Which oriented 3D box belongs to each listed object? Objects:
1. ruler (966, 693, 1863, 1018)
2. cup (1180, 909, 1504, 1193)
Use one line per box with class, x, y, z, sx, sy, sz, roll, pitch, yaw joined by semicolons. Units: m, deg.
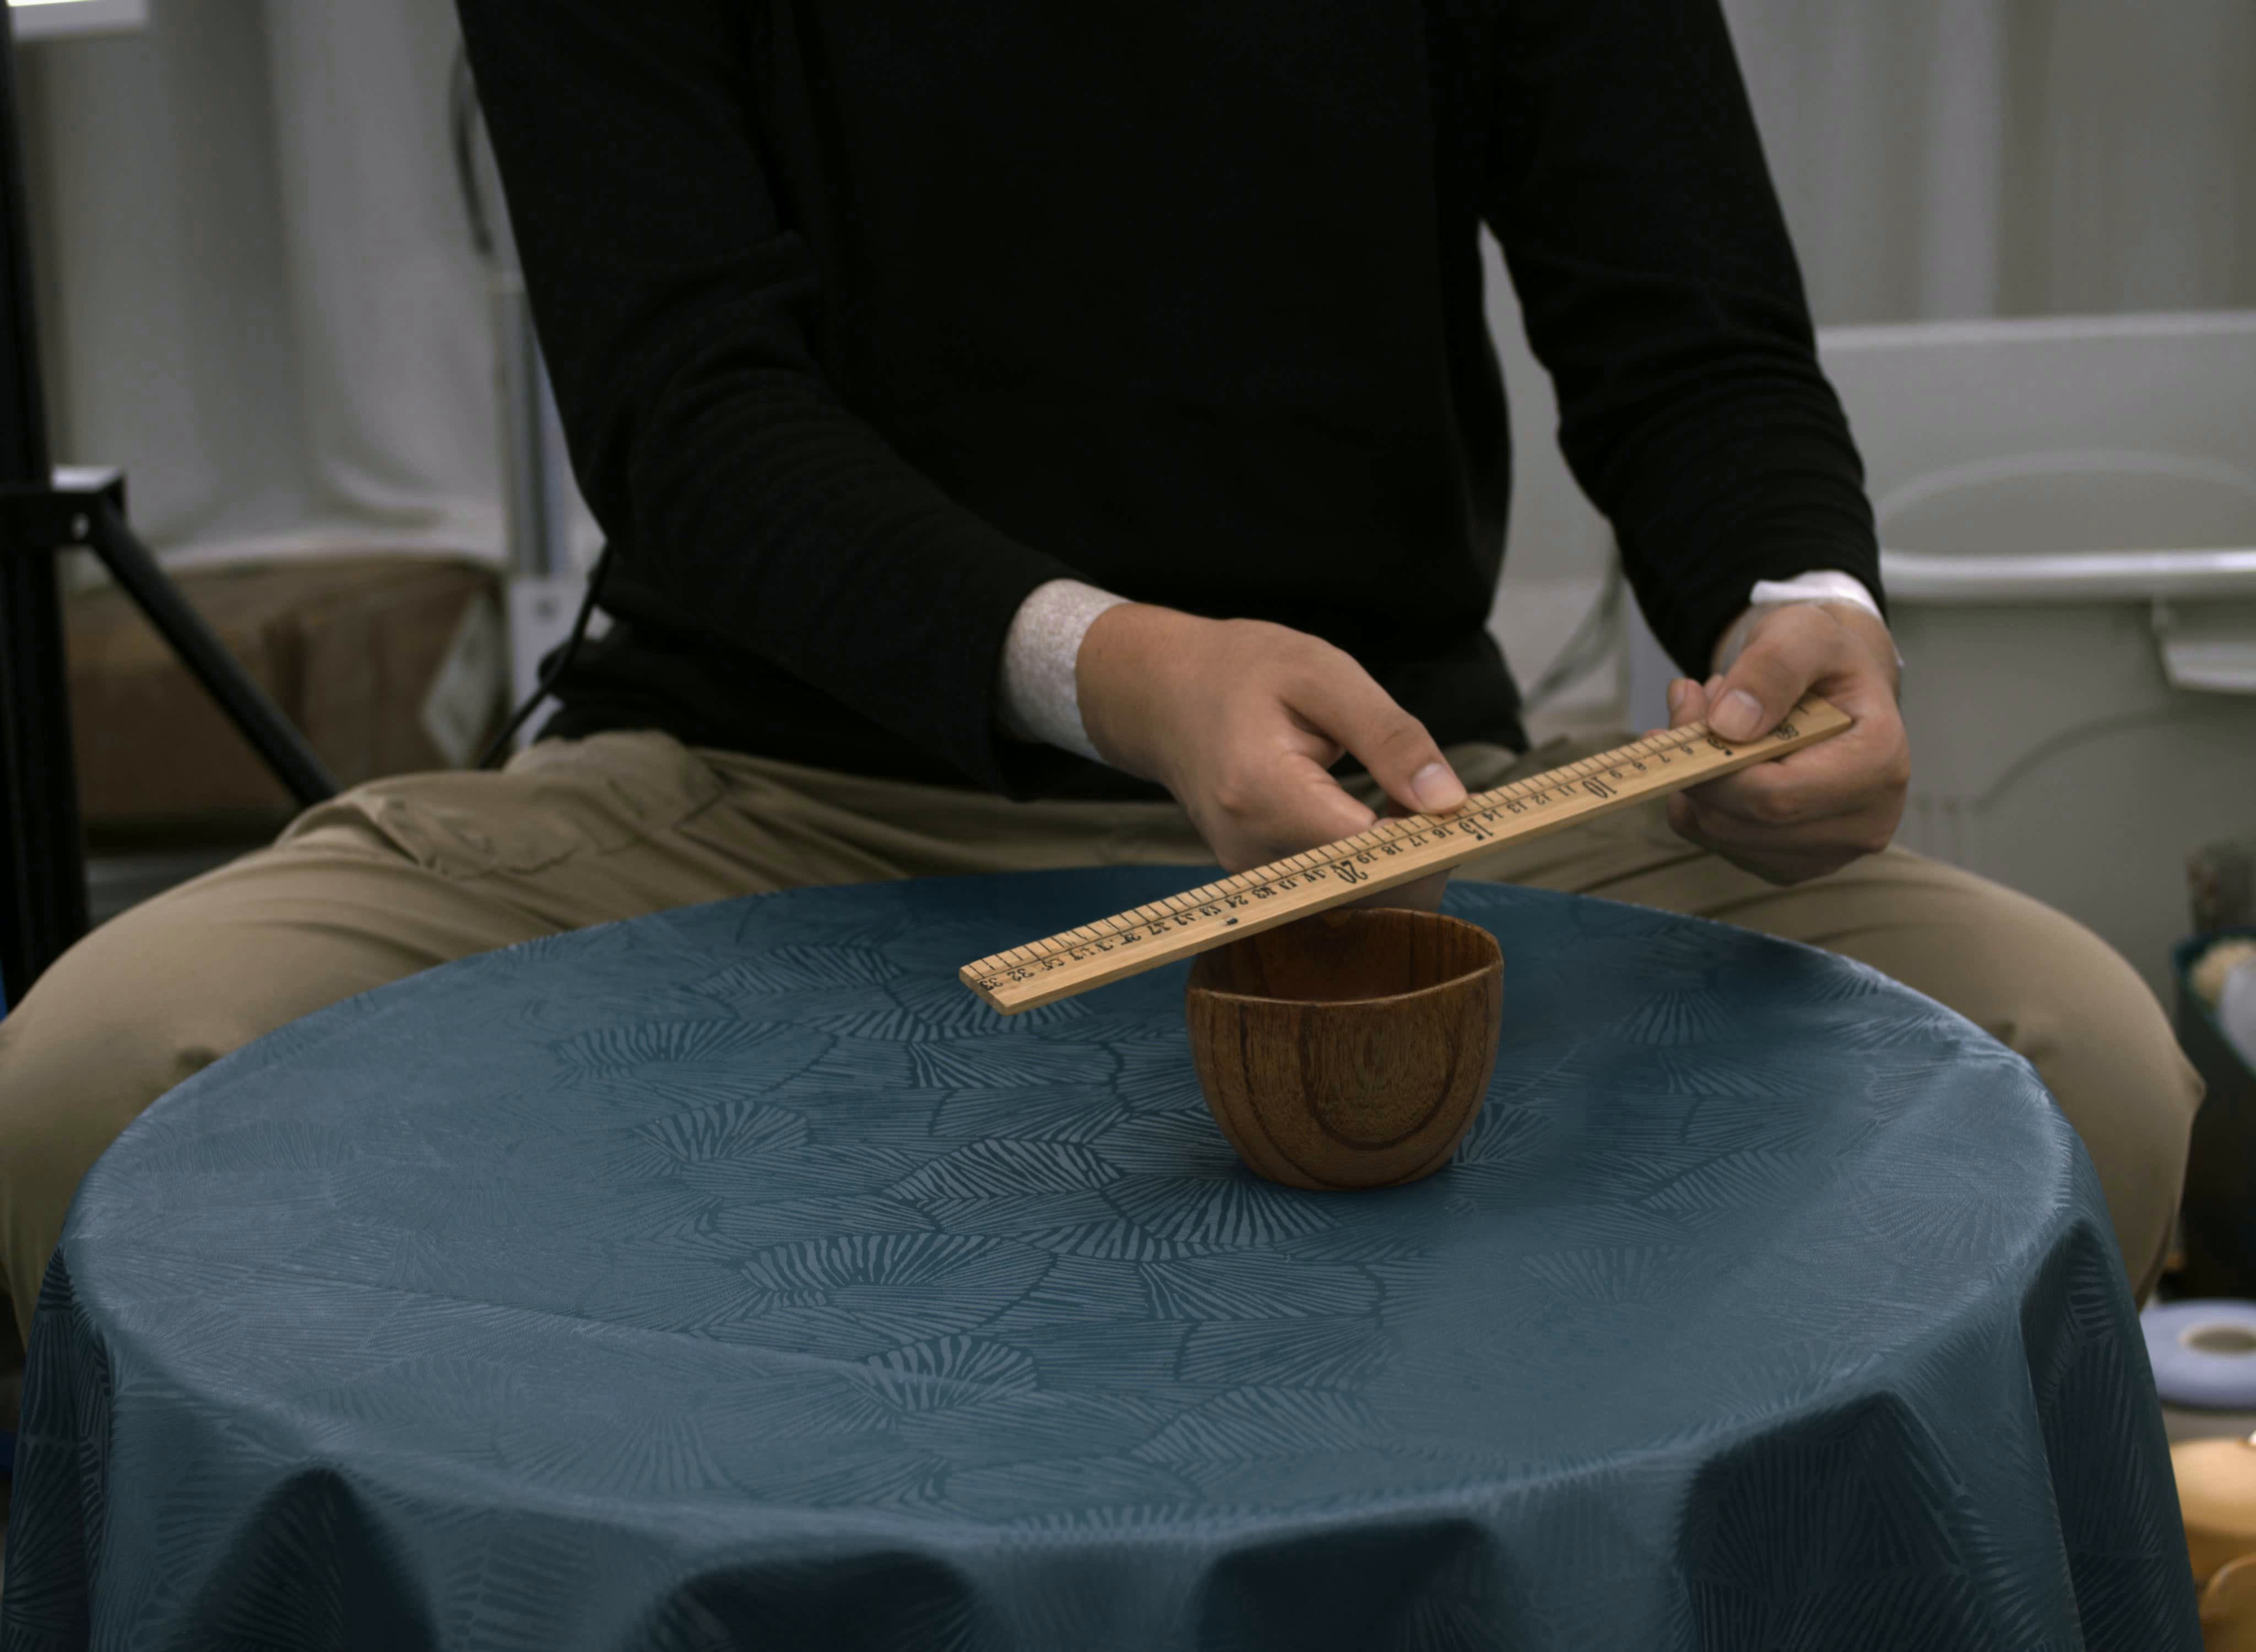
ruler;0.094;0.004;1.623;0.325;0.022;0.028;-17;41;-29
cup;0.065;0.065;1.580;0.096;0.068;0.120;-4;14;0
